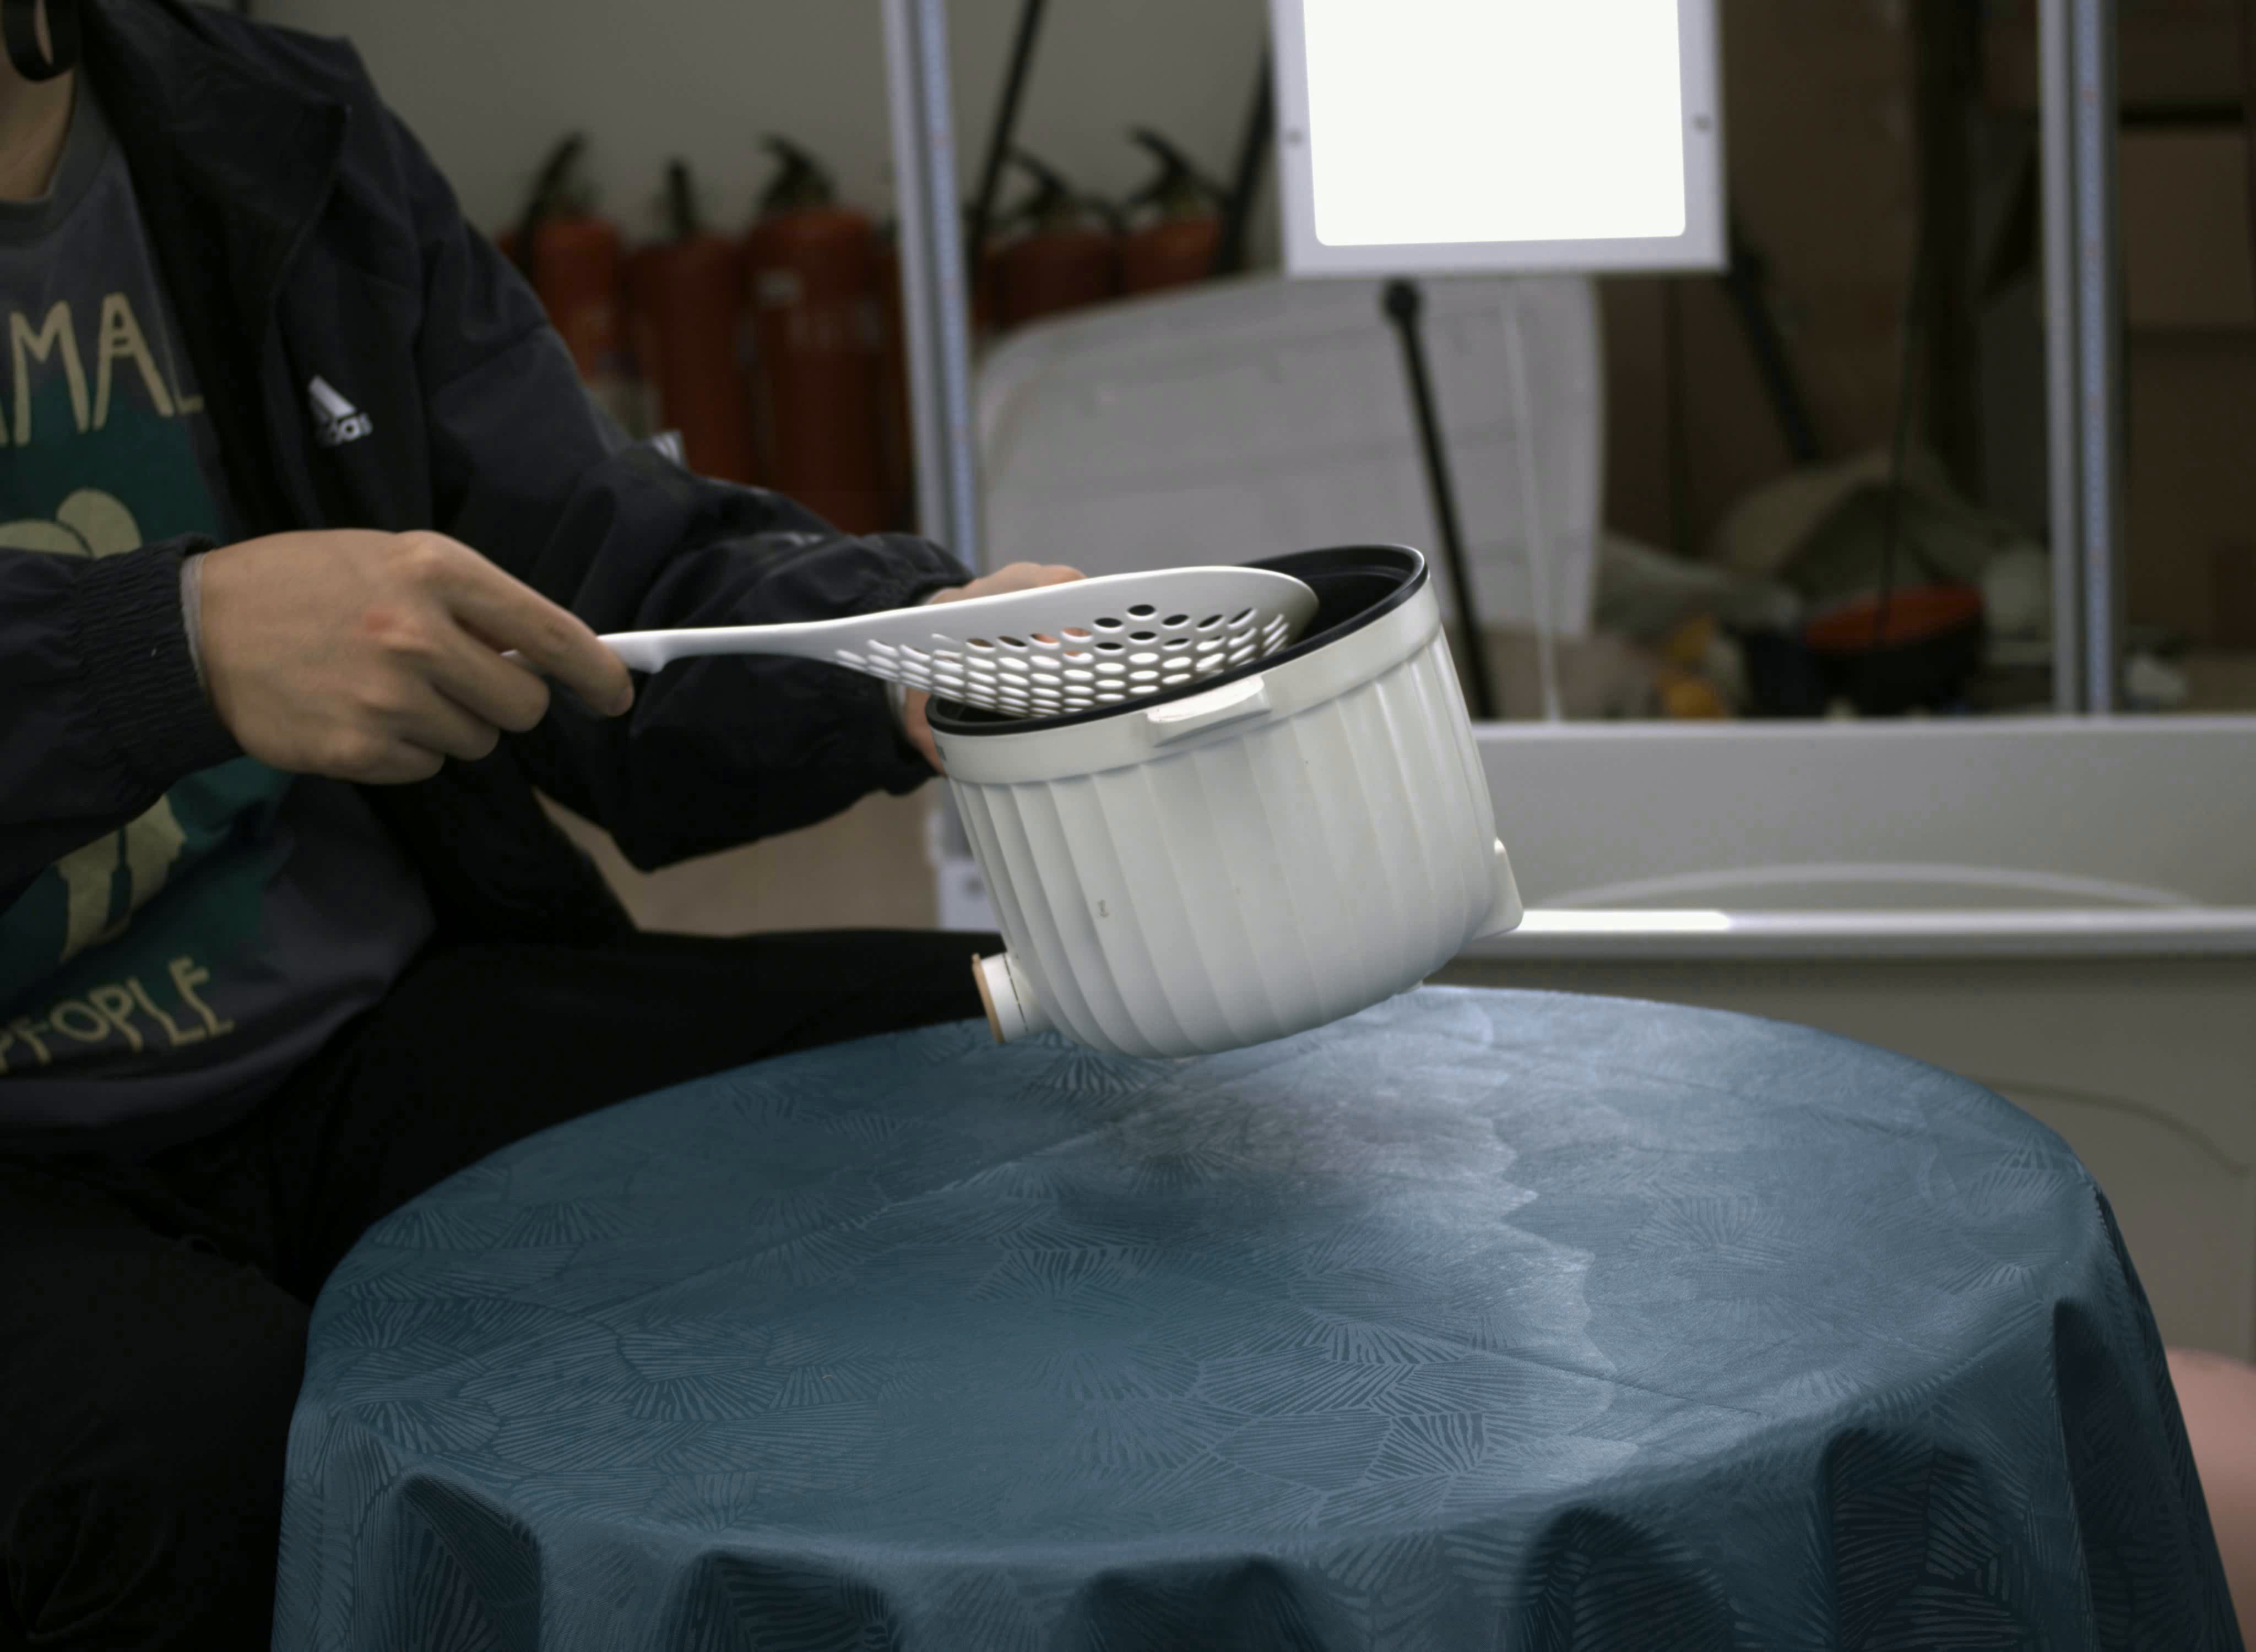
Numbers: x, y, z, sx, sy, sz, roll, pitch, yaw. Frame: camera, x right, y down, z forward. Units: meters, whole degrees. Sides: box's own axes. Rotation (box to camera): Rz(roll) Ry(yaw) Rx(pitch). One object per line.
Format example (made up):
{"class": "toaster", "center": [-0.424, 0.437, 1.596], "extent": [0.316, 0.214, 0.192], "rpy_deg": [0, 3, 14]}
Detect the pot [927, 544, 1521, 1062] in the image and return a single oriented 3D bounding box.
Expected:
{"class": "pot", "center": [0.030, -0.003, 1.904], "extent": [0.190, 0.143, 0.240], "rpy_deg": [-15, 12, -1]}

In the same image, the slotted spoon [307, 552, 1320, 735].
{"class": "slotted spoon", "center": [-0.106, -0.056, 1.887], "extent": [0.346, 0.050, 0.137], "rpy_deg": [0, -9, -3]}
